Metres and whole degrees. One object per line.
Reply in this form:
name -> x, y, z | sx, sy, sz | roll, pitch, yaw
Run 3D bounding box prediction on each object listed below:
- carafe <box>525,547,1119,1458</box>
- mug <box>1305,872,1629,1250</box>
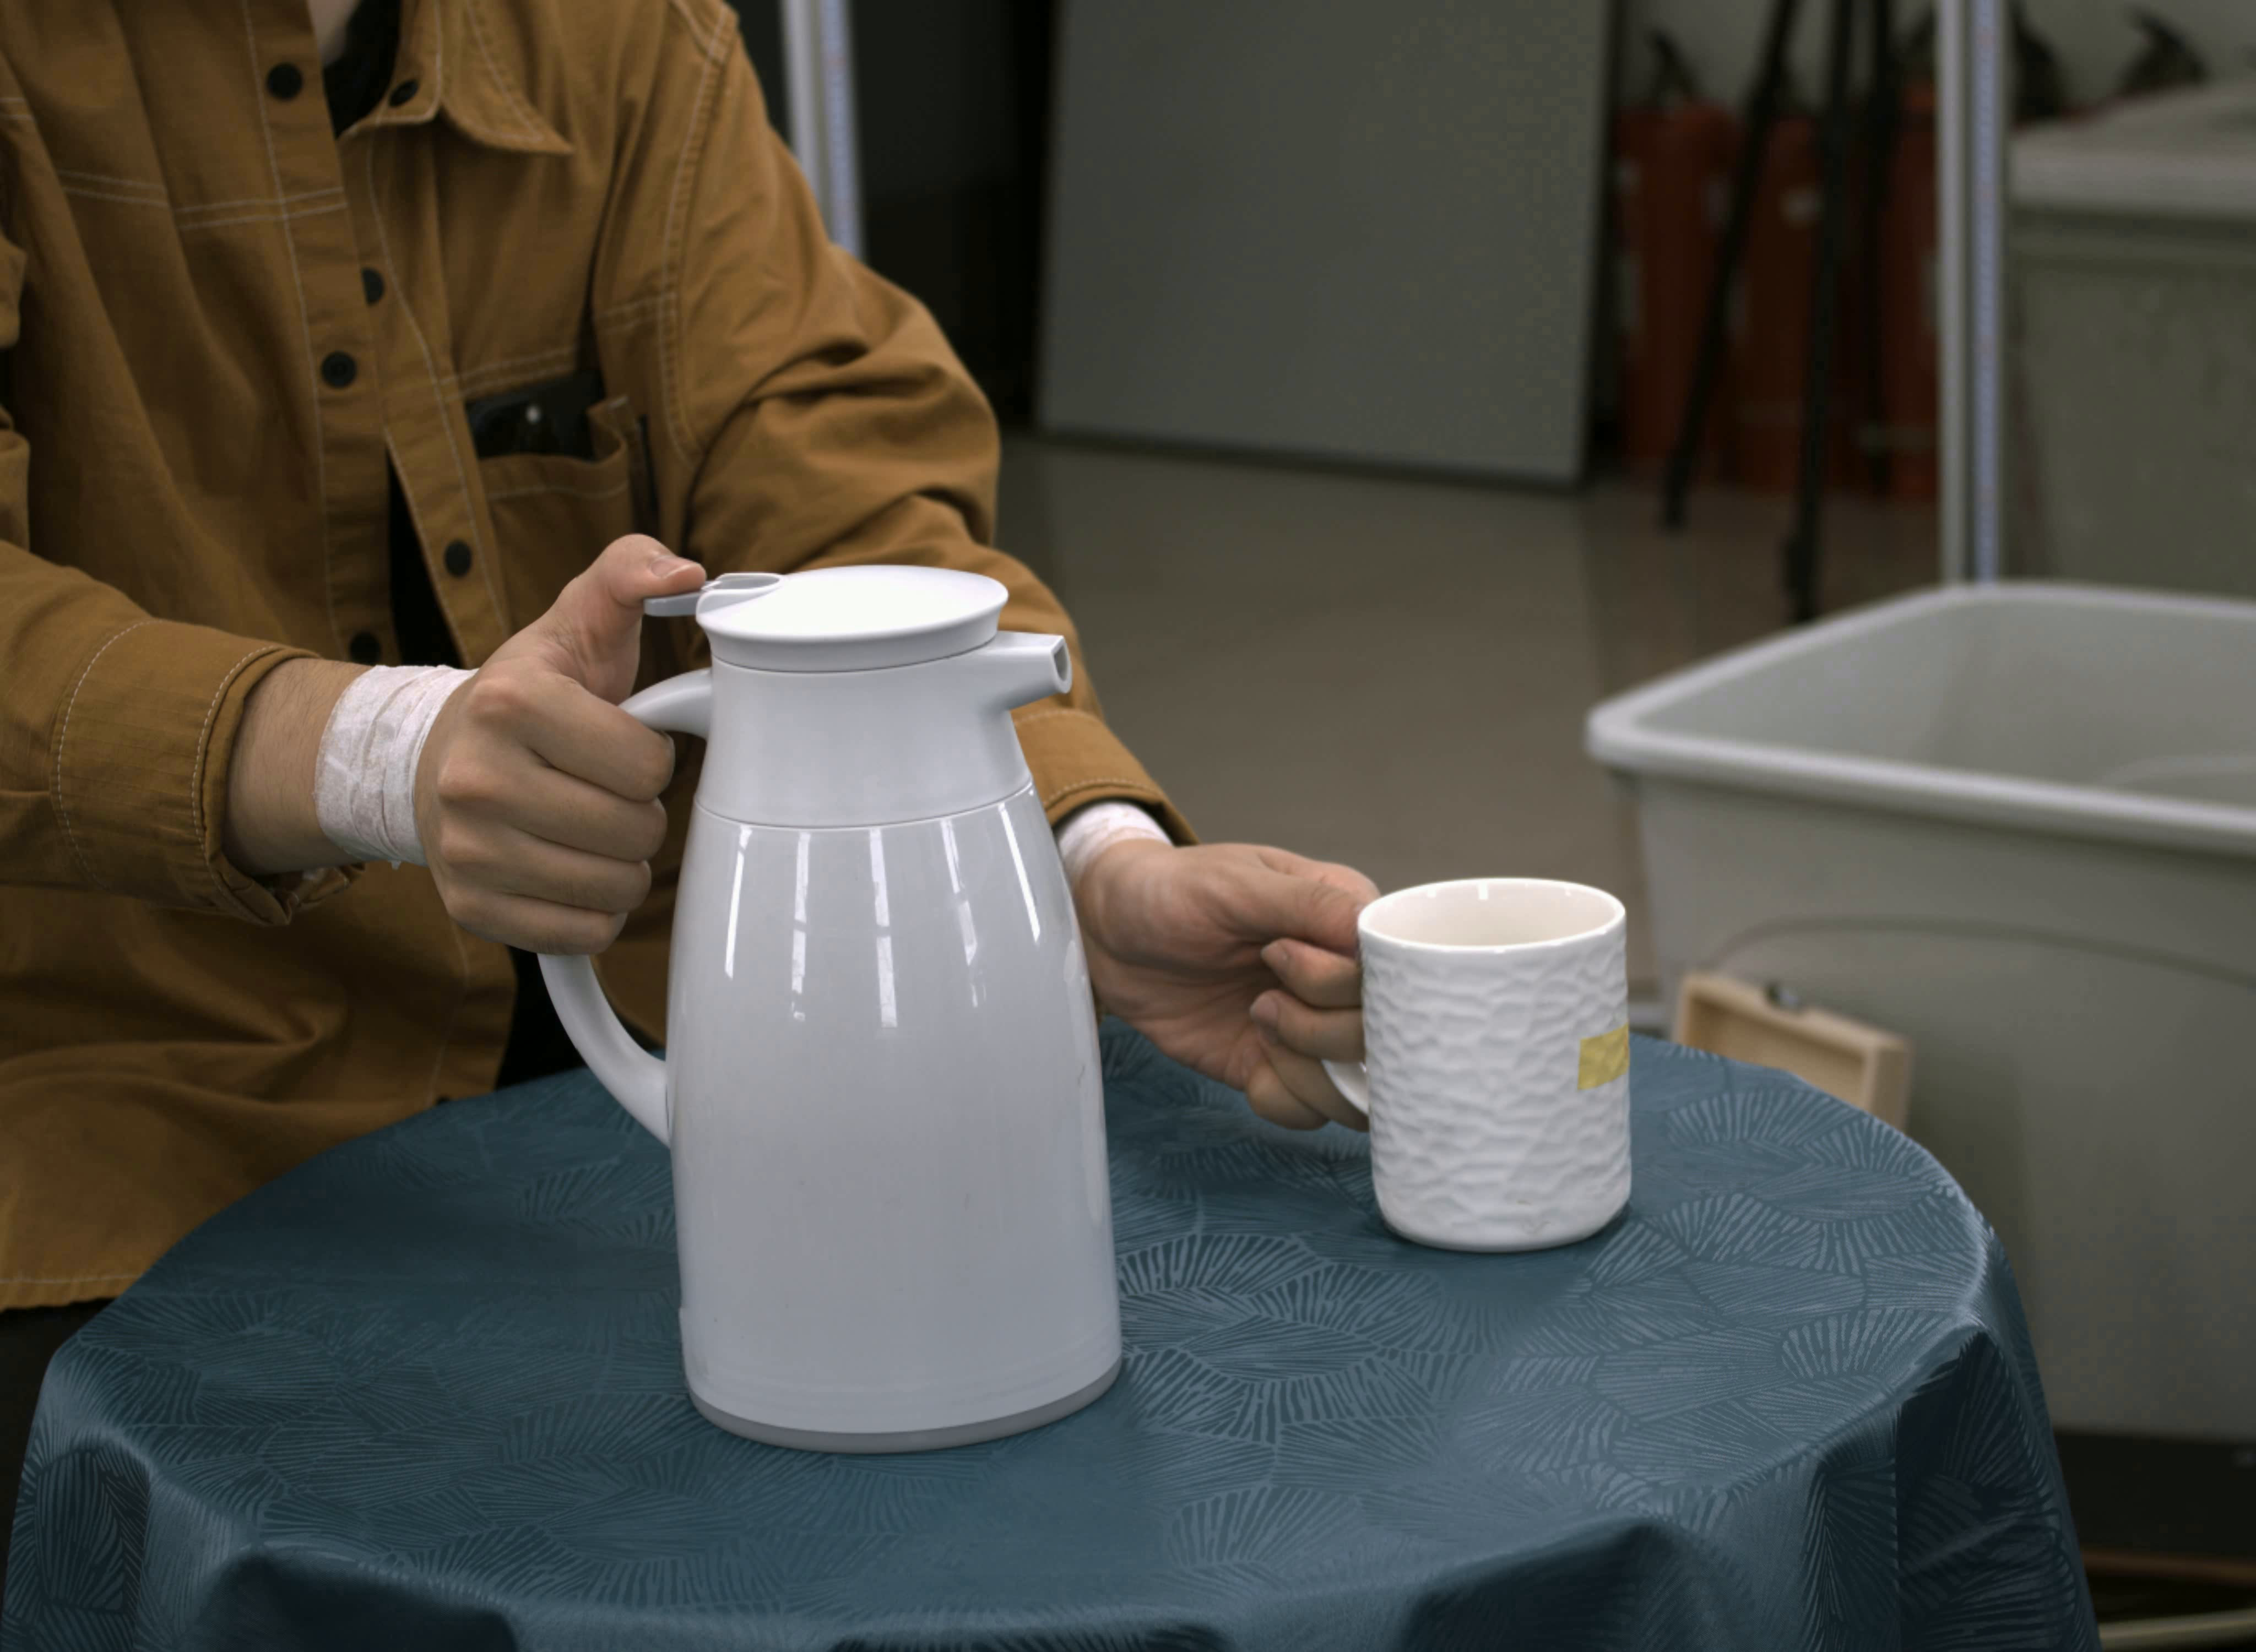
carafe -> -0.093, 0.046, 1.589 | 0.166, 0.251, 0.132 | -2, 14, 11
mug -> 0.105, 0.073, 1.723 | 0.119, 0.103, 0.083 | 8, 17, 44
